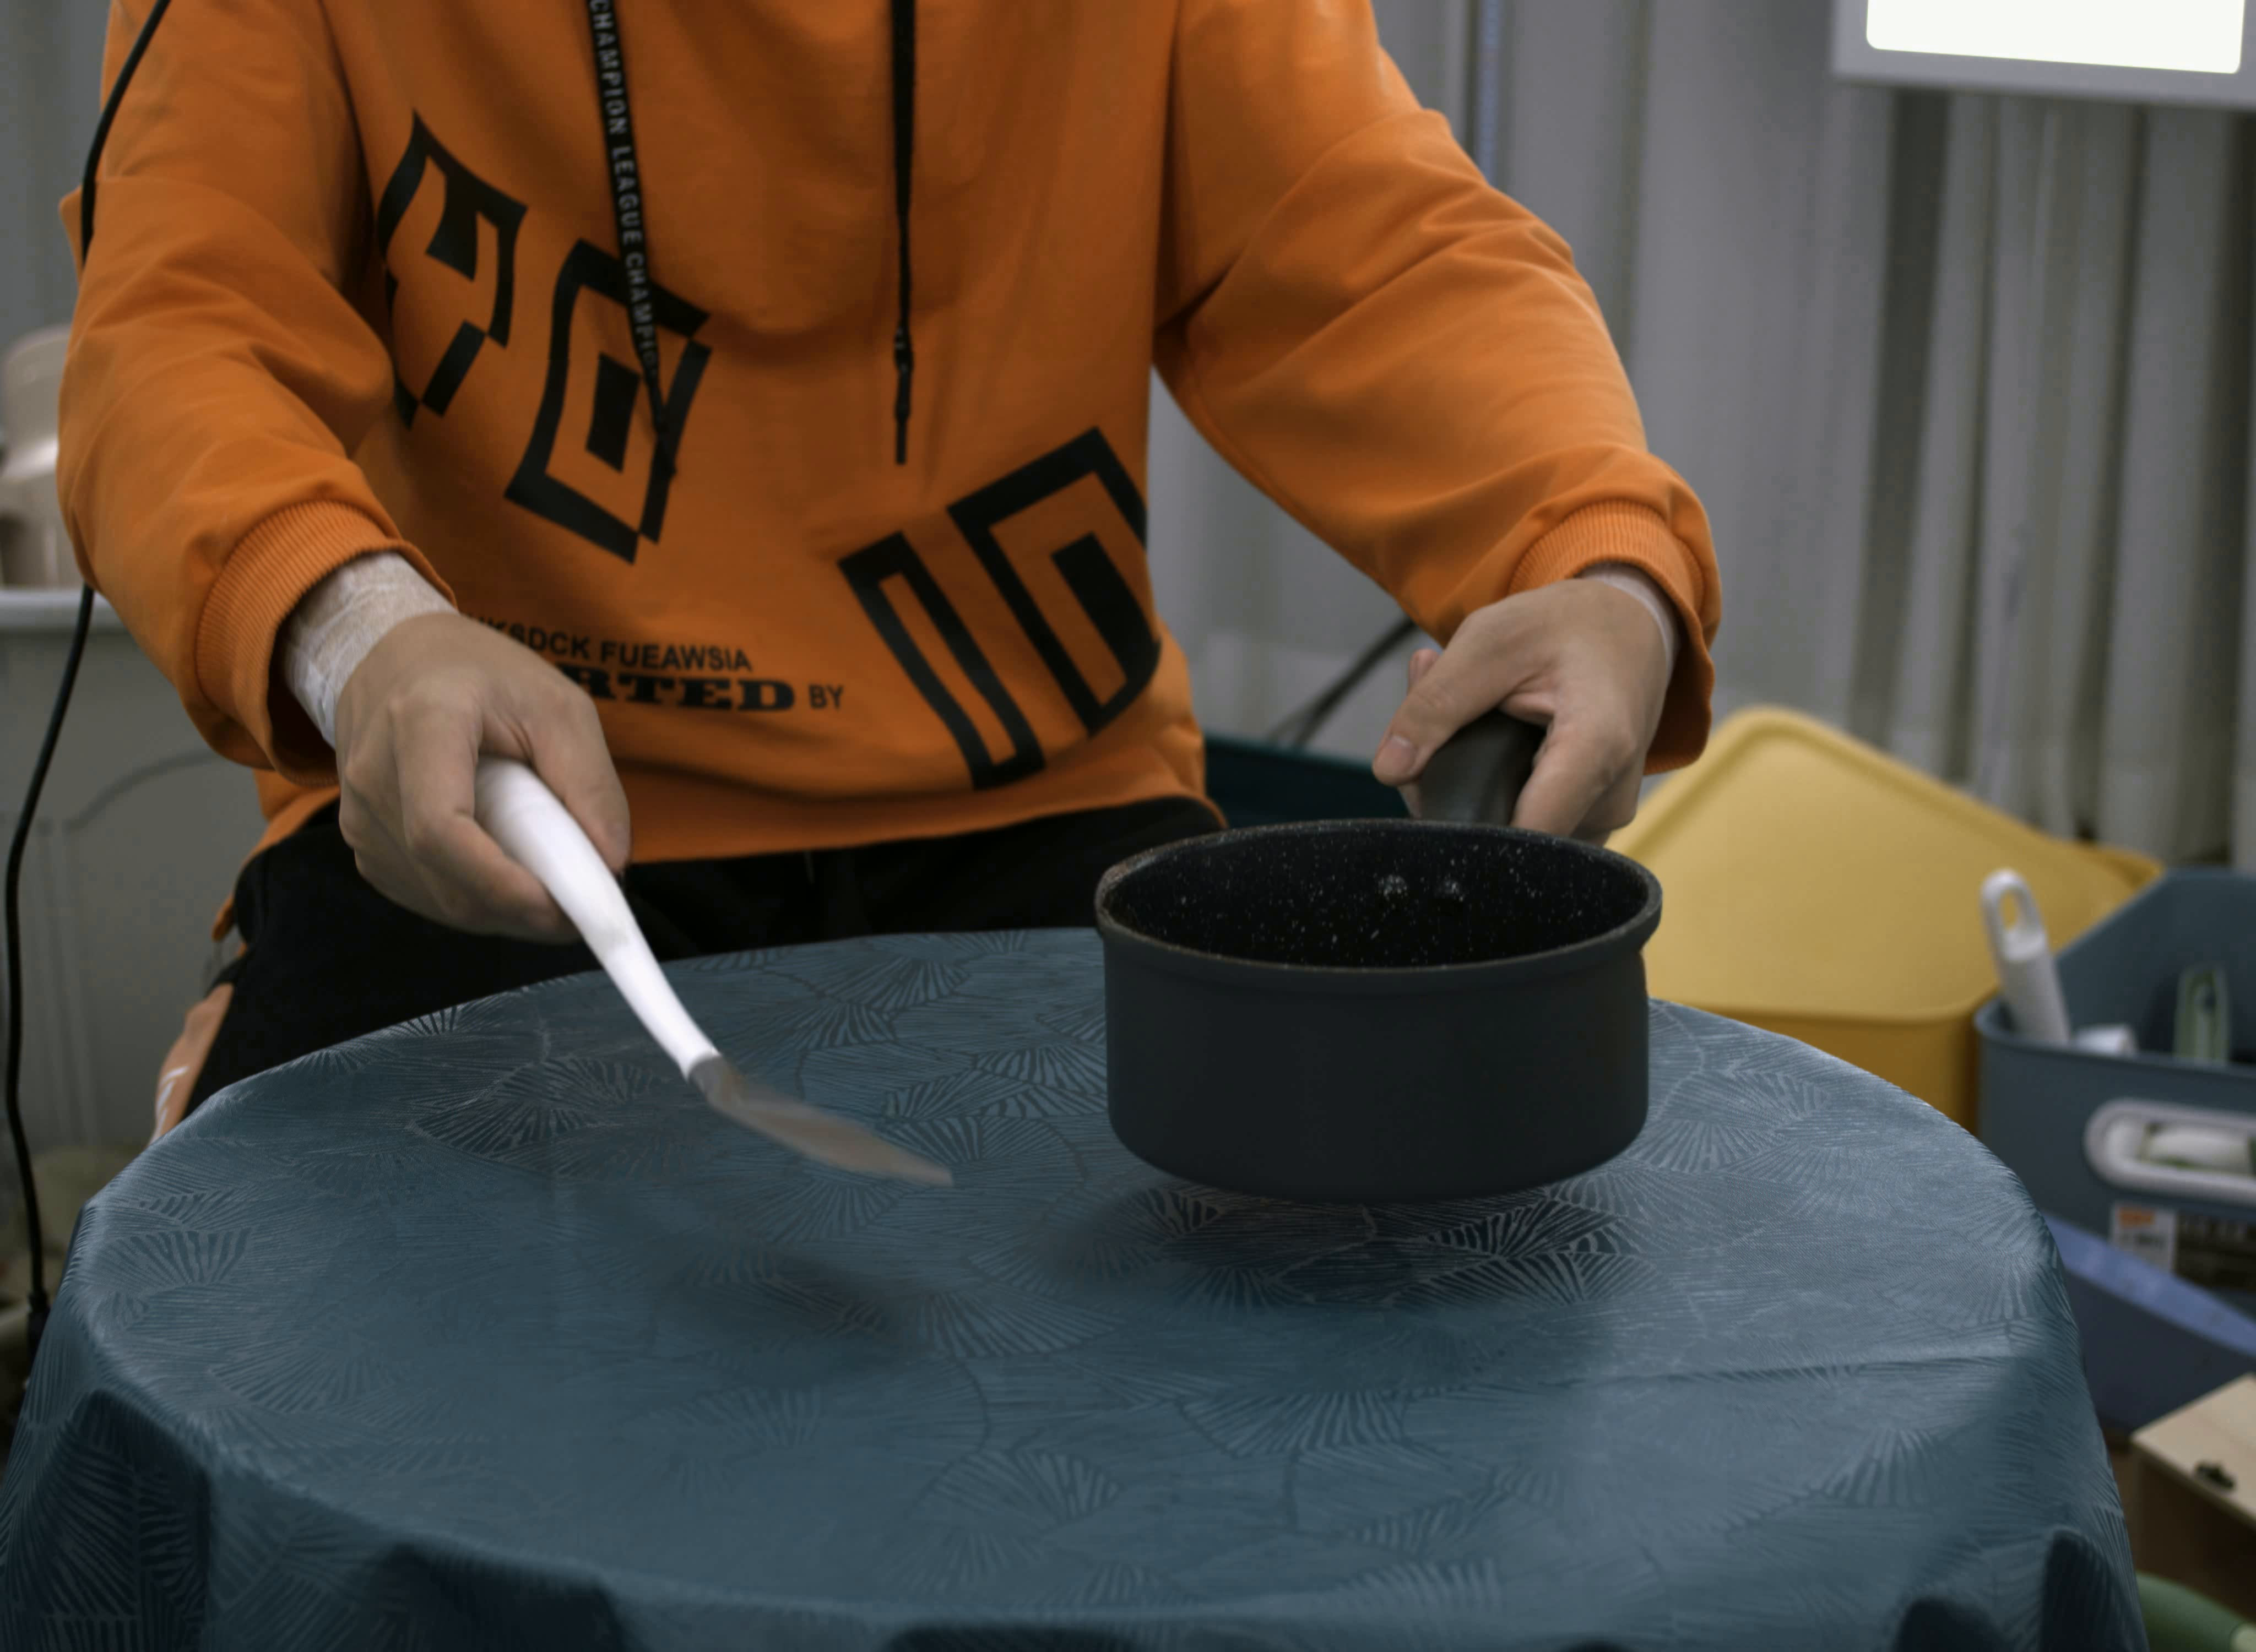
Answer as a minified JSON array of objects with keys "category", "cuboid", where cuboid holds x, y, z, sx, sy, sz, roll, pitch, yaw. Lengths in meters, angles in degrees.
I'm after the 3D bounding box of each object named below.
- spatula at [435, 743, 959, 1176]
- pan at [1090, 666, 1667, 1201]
[{"category":"spatula","cuboid":[-0.139,0.046,1.591,0.059,0.032,0.283,17,15,-38]},{"category":"pan","cuboid":[0.096,0.030,1.651,0.170,0.087,0.328,4,17,15]}]
